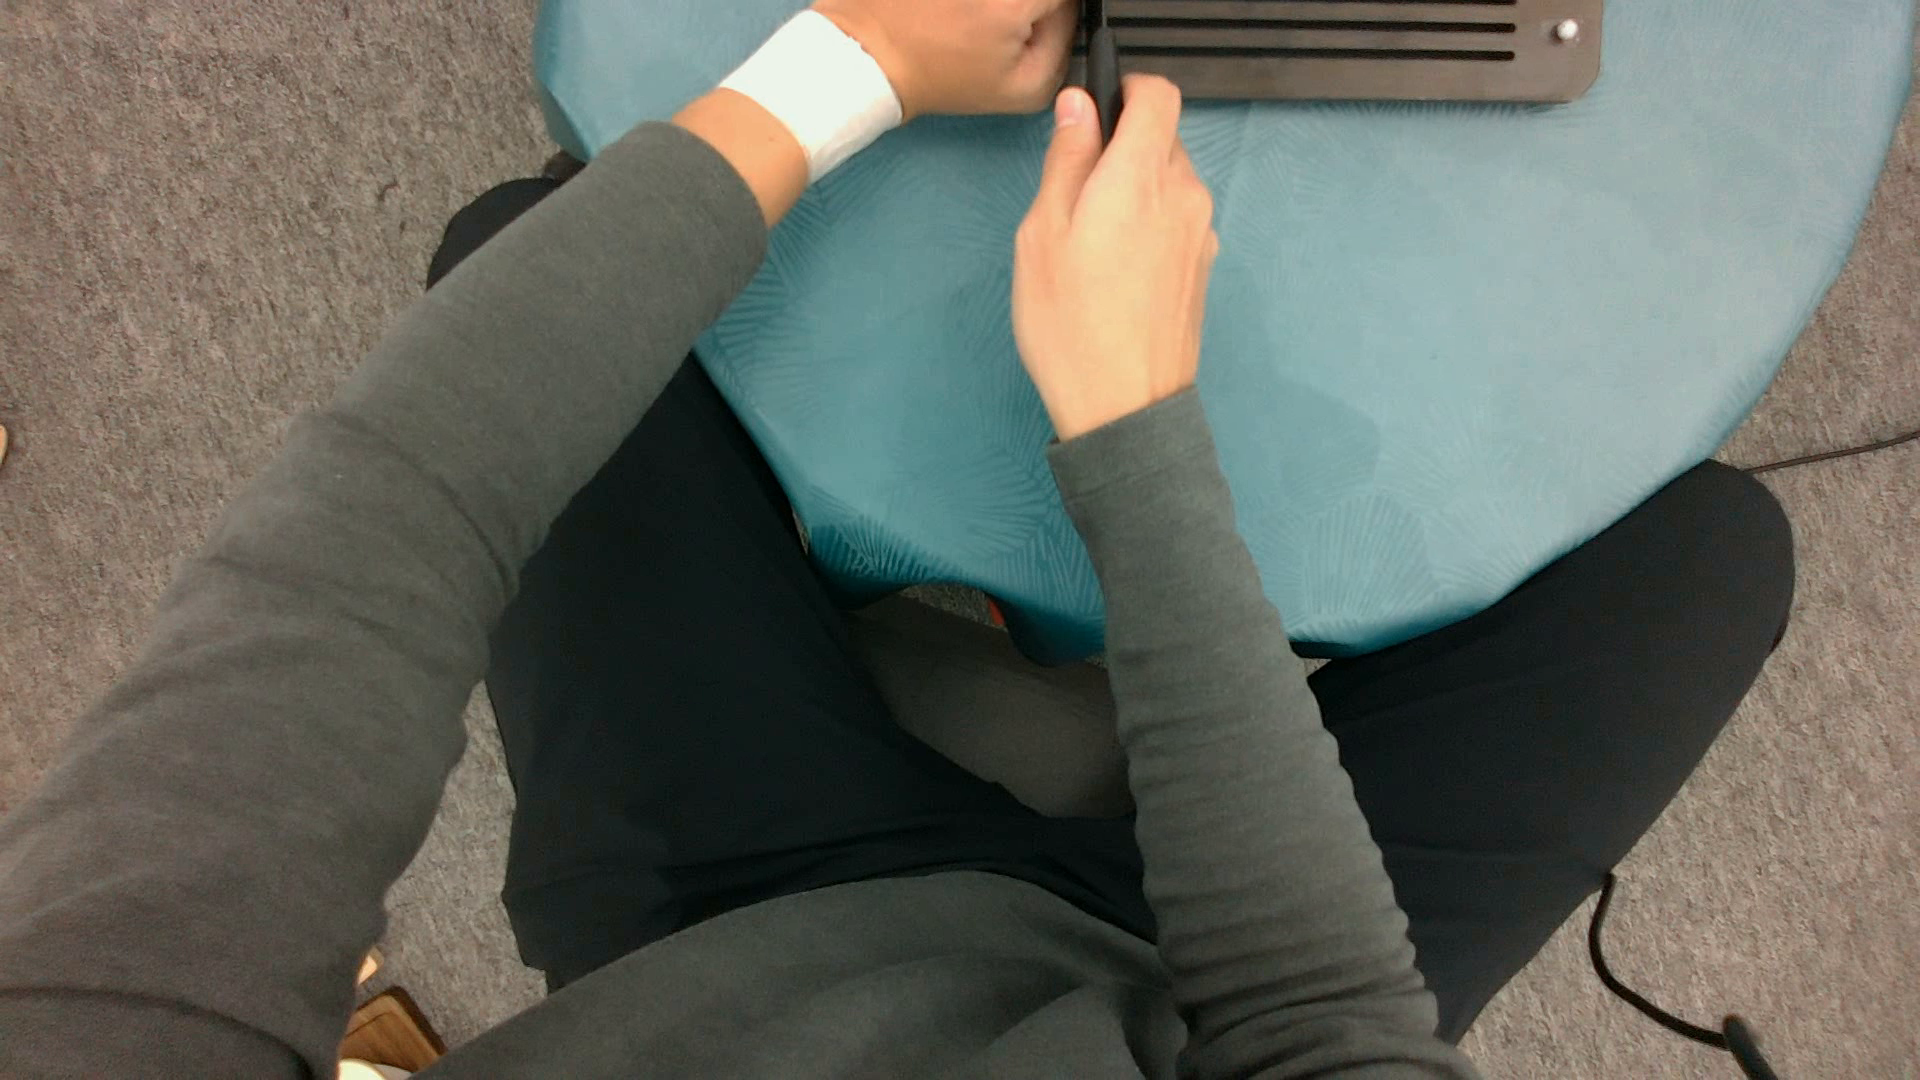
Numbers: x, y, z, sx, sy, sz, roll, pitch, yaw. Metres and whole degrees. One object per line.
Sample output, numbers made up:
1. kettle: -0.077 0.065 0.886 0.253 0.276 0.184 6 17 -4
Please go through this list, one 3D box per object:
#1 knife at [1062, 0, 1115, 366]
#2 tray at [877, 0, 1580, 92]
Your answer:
1. knife: 0.048 -0.221 0.547 0.021 0.081 0.302 -1 90 0
2. tray: 0.117 -0.282 0.593 0.306 0.018 0.170 0 96 -2
